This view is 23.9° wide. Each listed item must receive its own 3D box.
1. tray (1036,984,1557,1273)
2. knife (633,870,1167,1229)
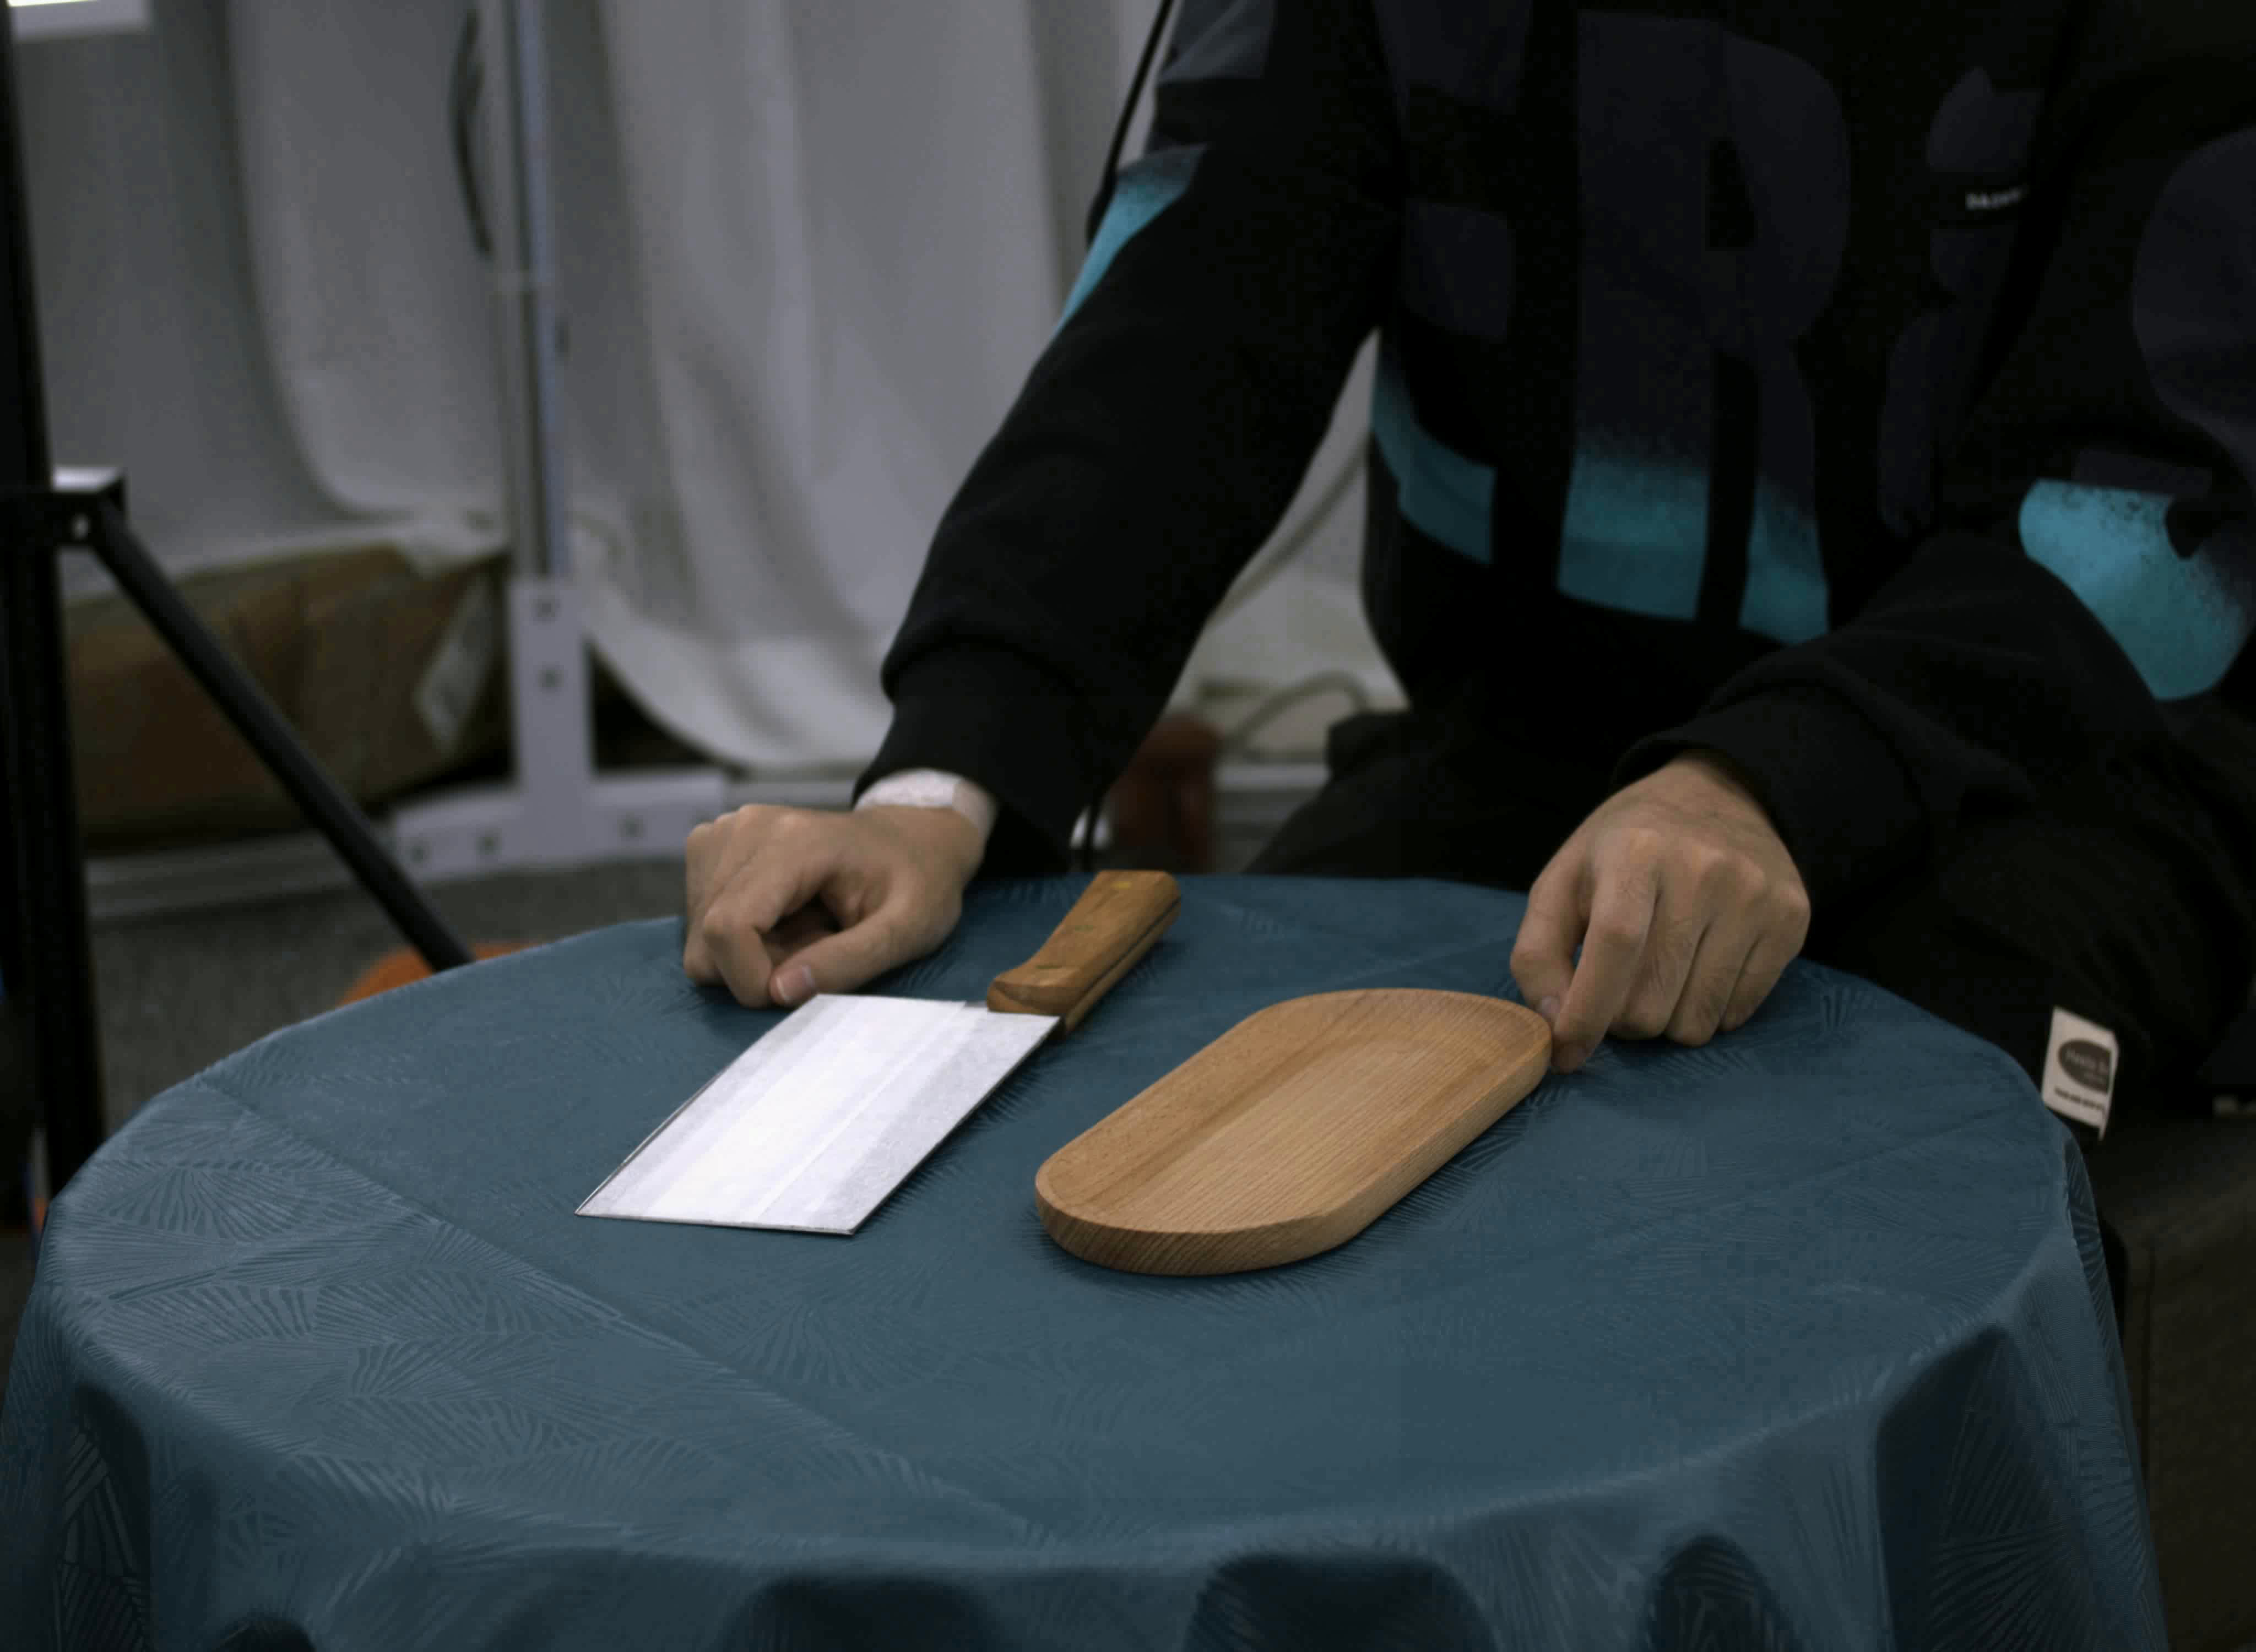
[{"bbox_3d":[0.053,0.089,1.586,0.103,0.020,0.227,6,17,27],"label":"tray"},{"bbox_3d":[-0.070,0.069,1.681,0.094,0.021,0.302,2,19,20],"label":"knife"}]
